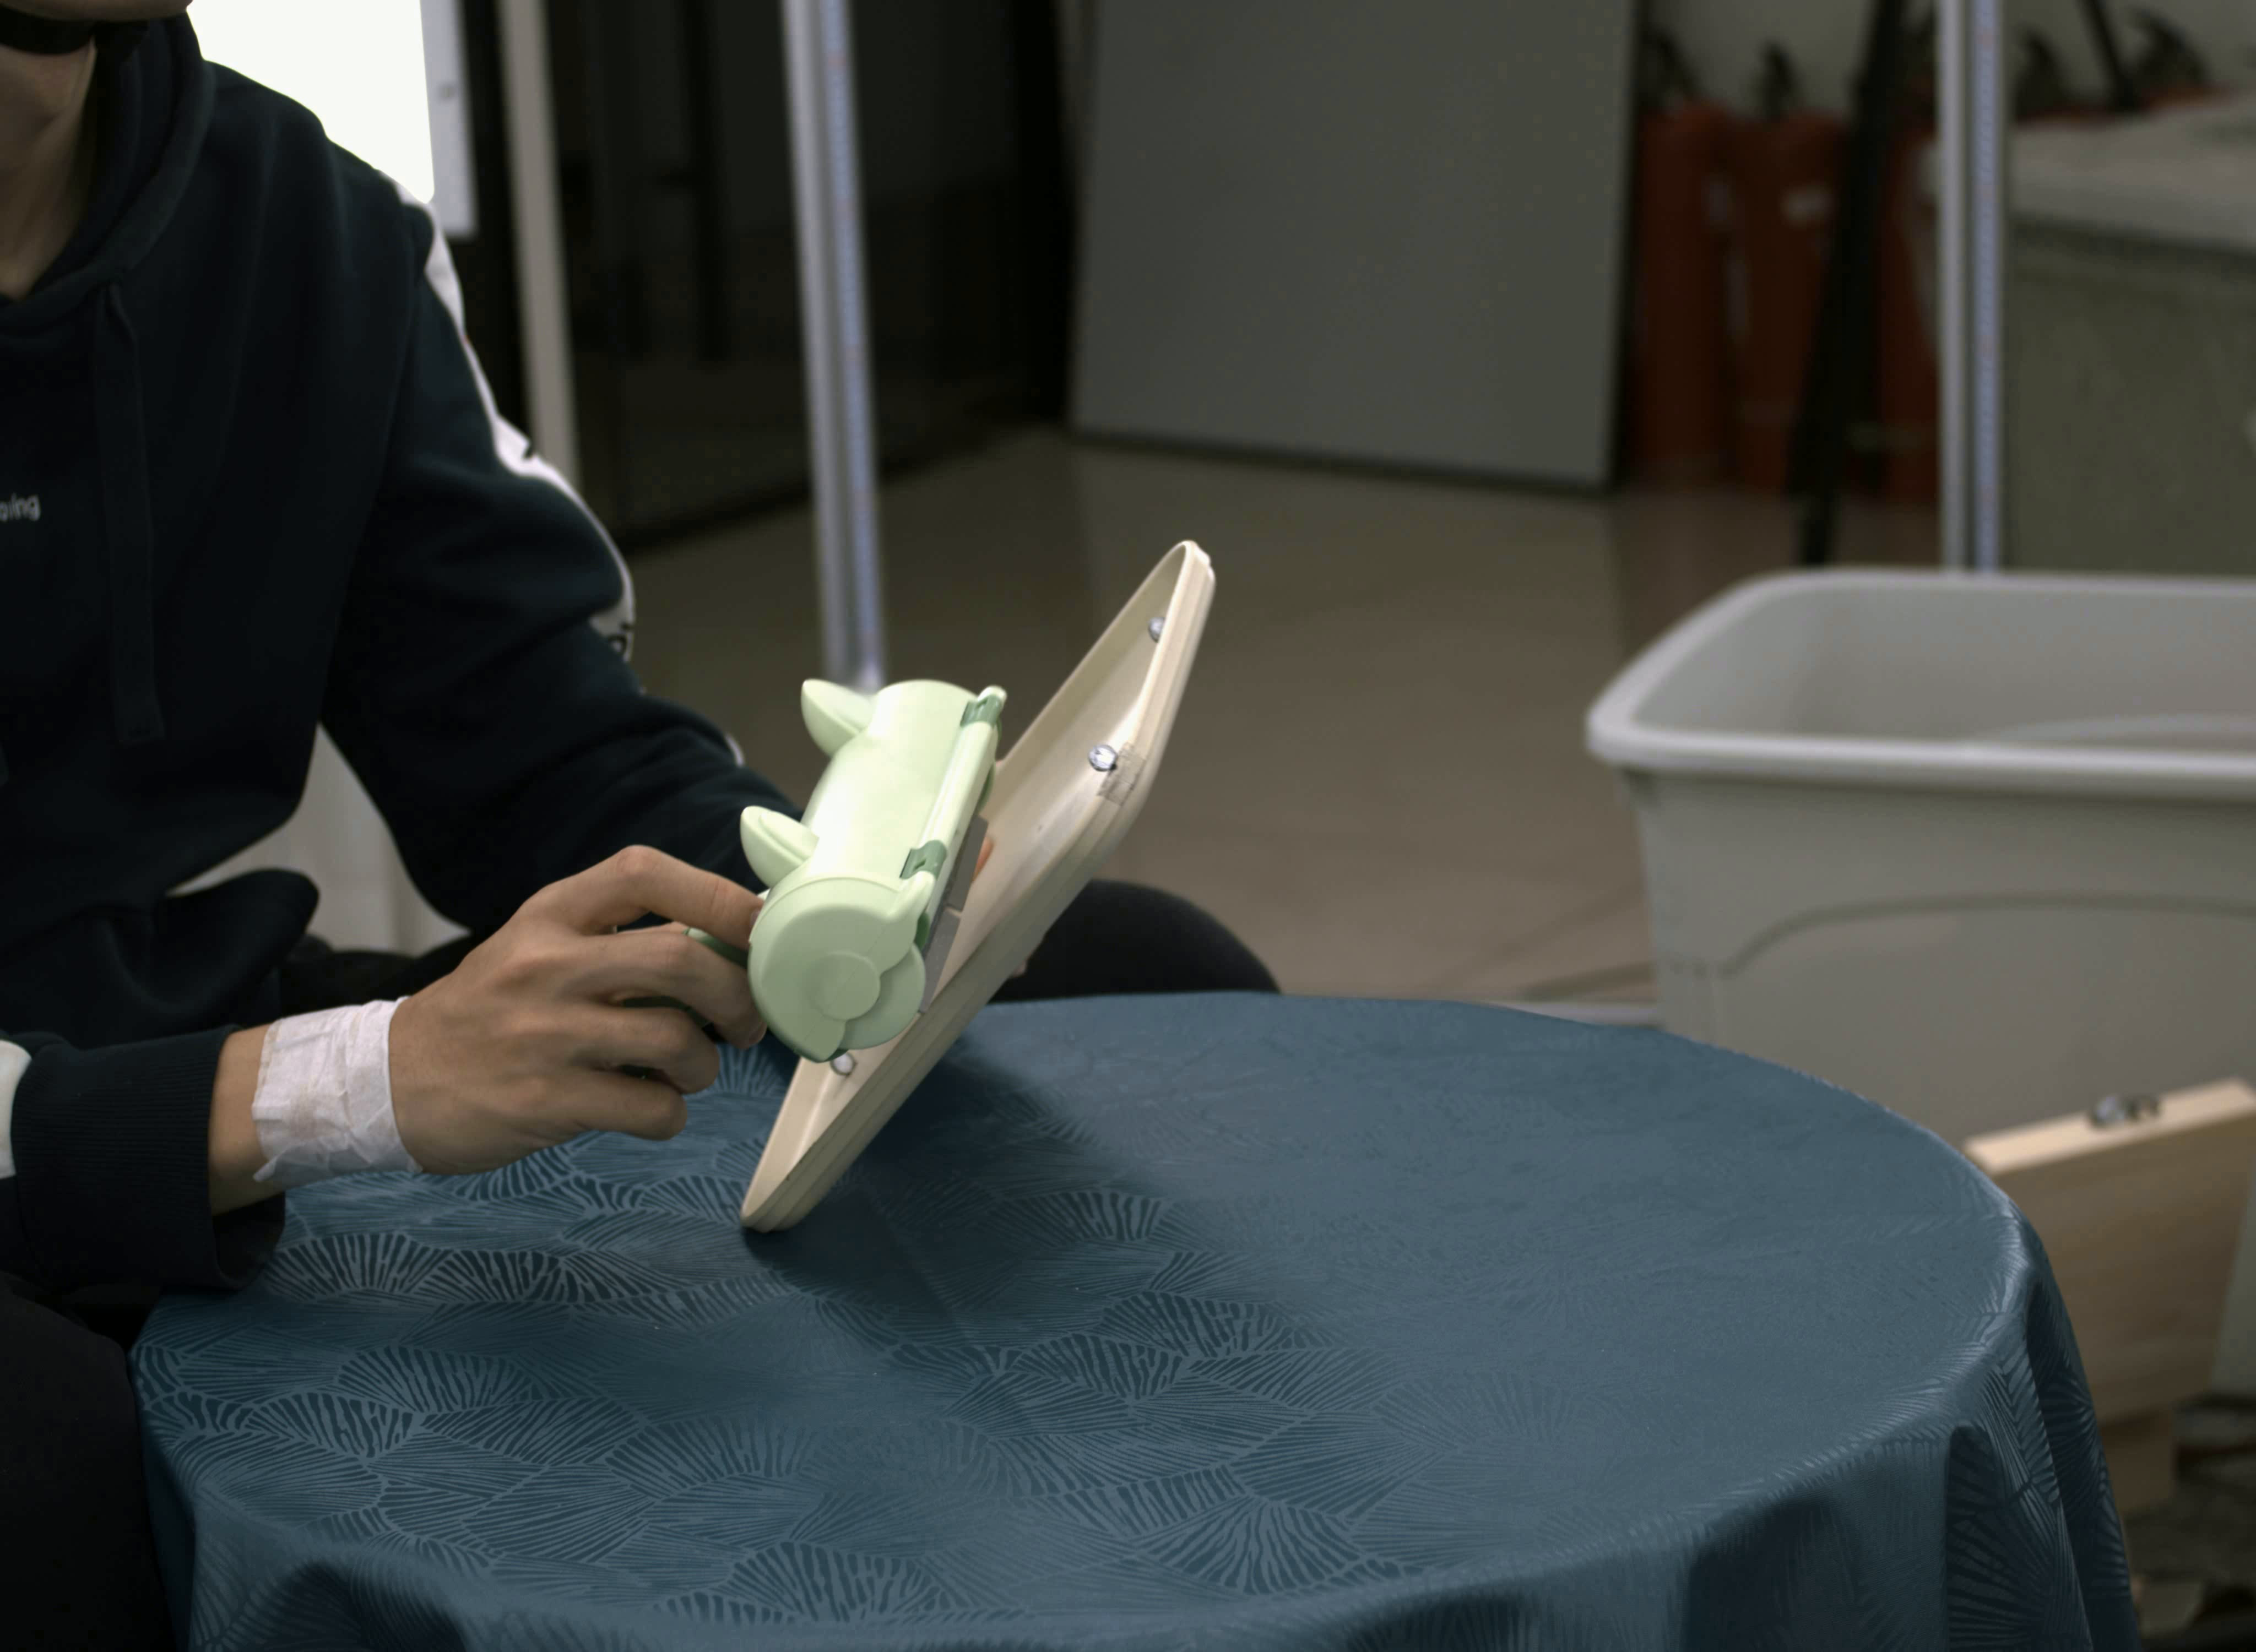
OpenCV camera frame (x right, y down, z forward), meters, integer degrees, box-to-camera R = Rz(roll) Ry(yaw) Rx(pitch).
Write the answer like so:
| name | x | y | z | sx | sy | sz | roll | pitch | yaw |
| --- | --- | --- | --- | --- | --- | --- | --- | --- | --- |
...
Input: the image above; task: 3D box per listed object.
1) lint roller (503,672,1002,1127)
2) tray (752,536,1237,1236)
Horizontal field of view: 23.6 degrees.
| name | x | y | z | sx | sy | sz | roll | pitch | yaw |
| --- | --- | --- | --- | --- | --- | --- | --- | --- | --- |
| lint roller | -0.128 | 0.025 | 1.665 | 0.183 | 0.082 | 0.198 | -24 | 16 | 15 |
| tray | -0.041 | 0.022 | 1.750 | 0.017 | 0.242 | 0.171 | 34 | 33 | -10 |
